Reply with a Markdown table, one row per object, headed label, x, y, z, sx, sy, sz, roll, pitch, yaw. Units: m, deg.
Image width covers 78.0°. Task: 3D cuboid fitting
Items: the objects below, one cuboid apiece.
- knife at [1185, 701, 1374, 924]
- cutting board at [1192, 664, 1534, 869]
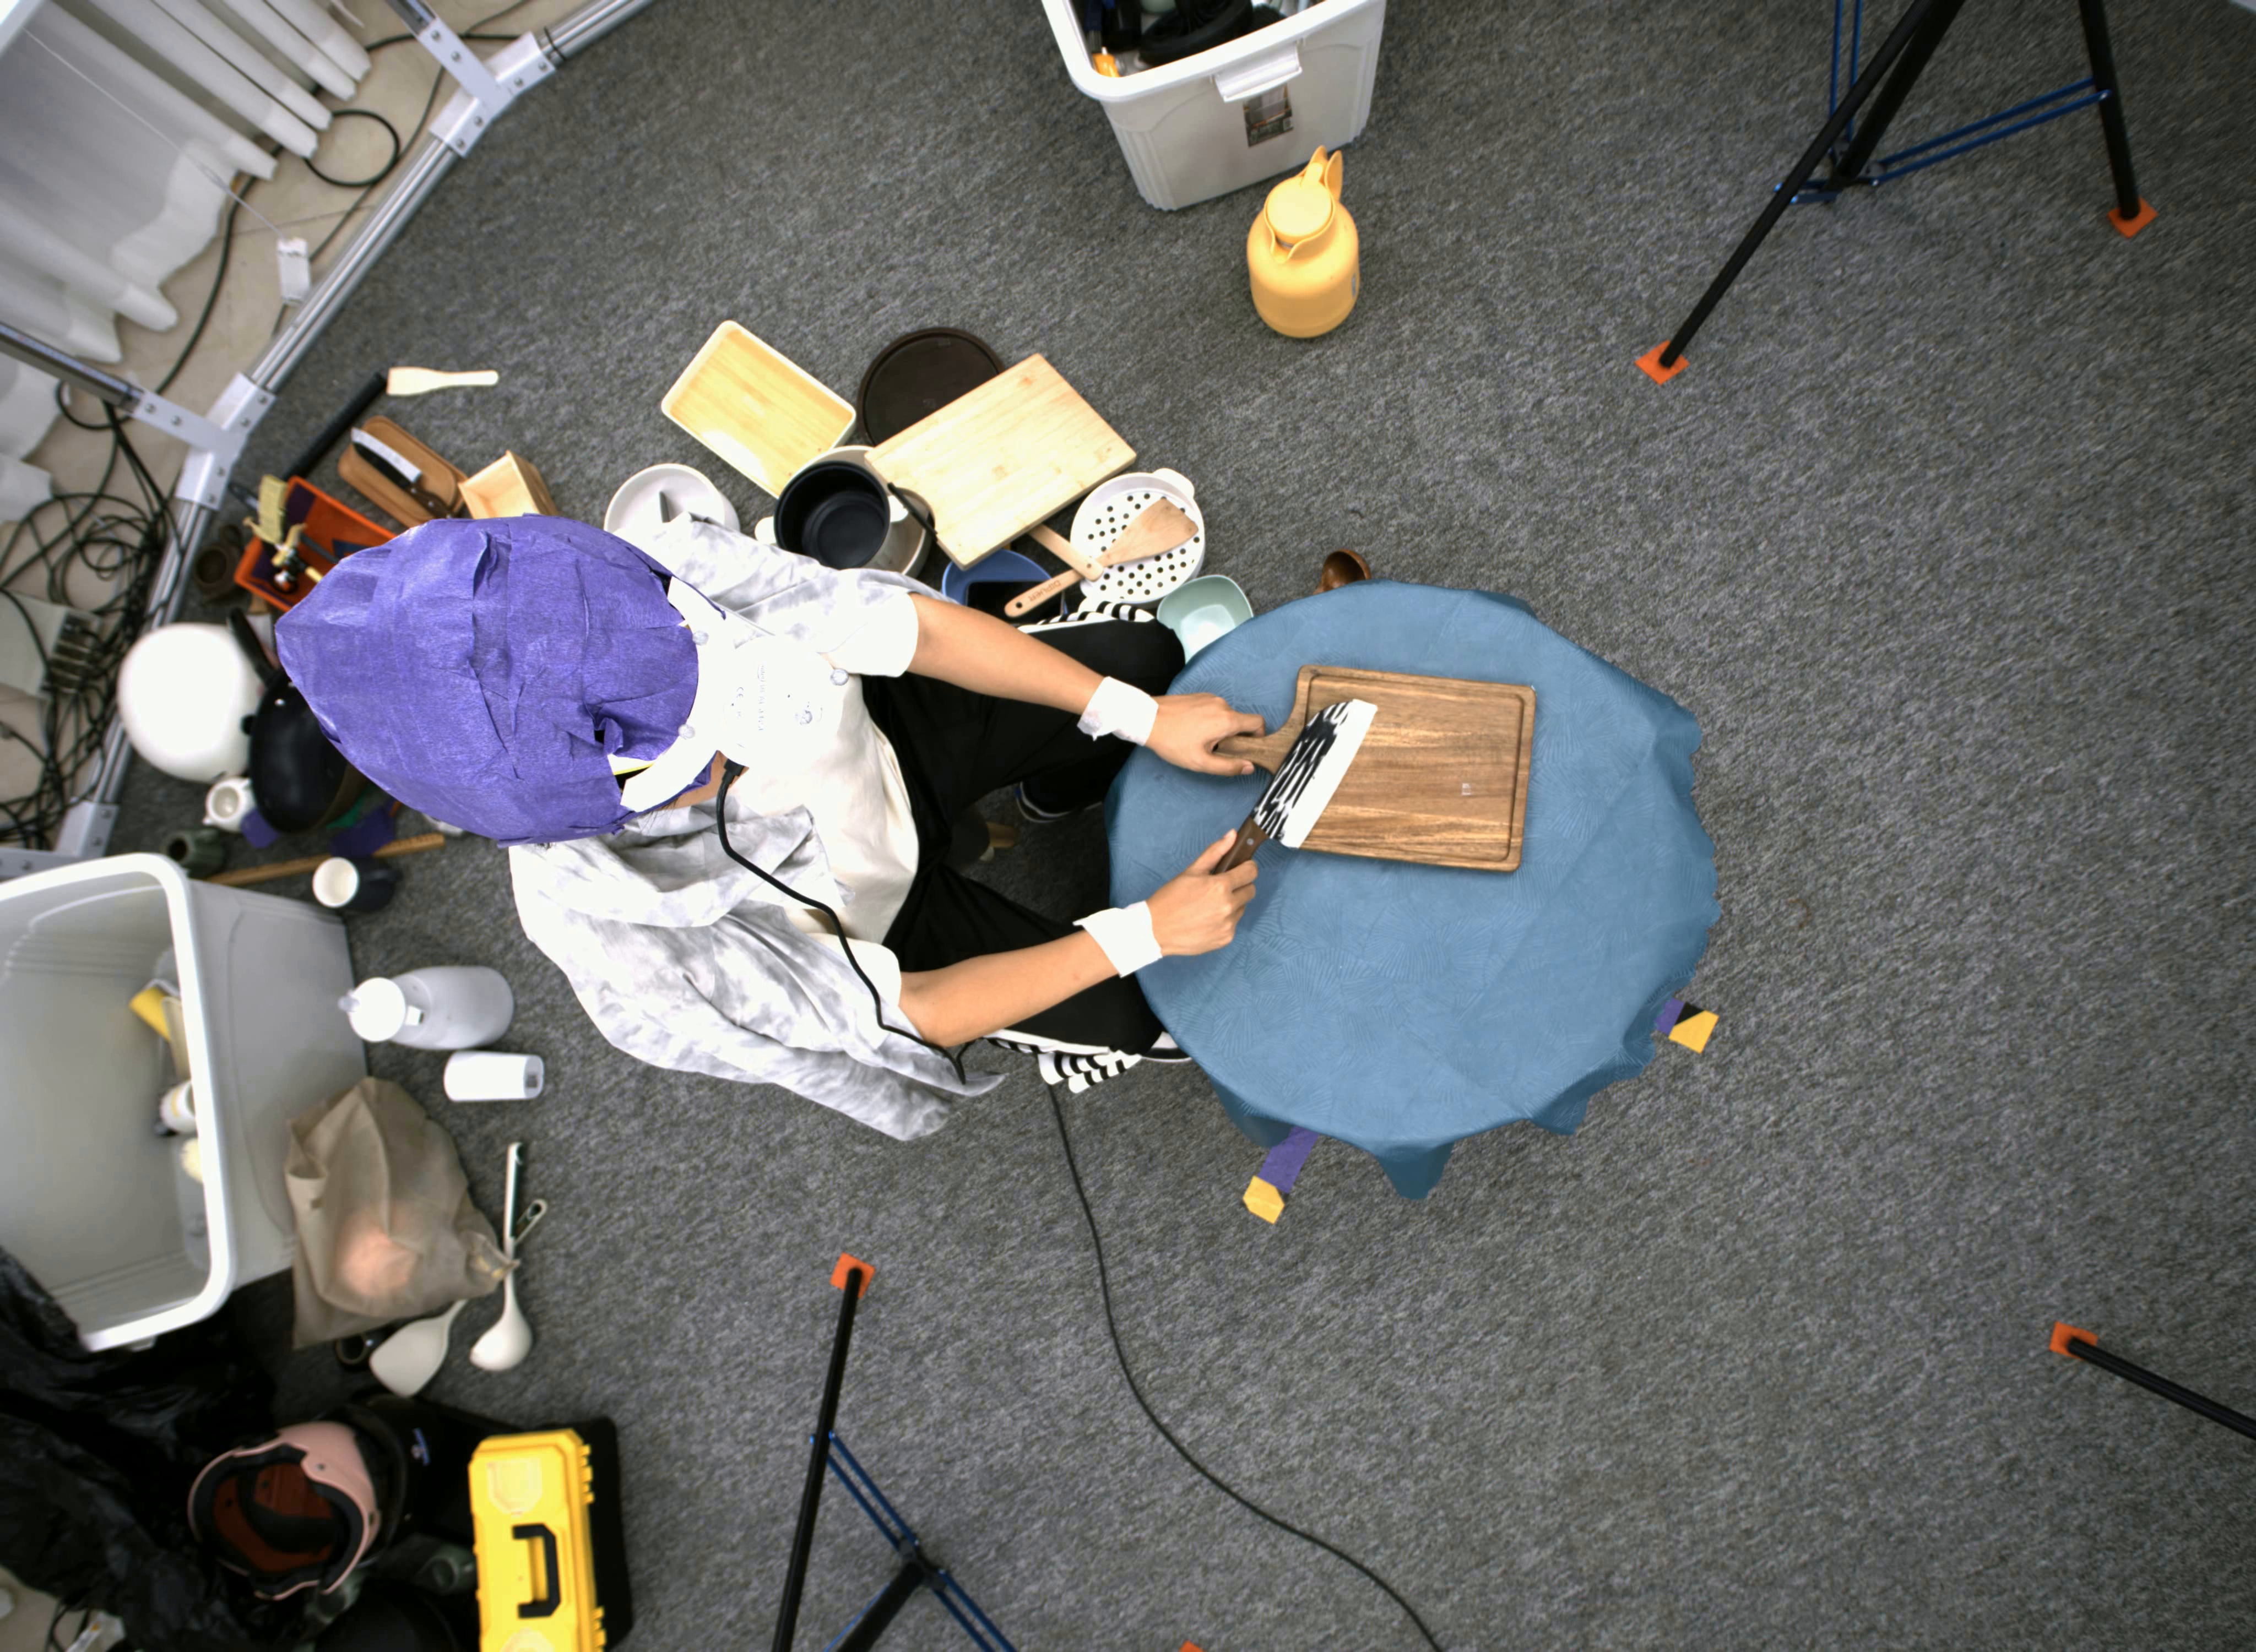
| label | x | y | z | sx | sy | sz | roll | pitch | yaw |
| --- | --- | --- | --- | --- | --- | --- | --- | --- | --- |
| knife | 0.160 | -0.014 | 1.430 | 0.068 | 0.024 | 0.298 | 34 | 87 | -18 |
| cutting board | 0.243 | -0.069 | 1.450 | 0.353 | 0.023 | 0.200 | 6 | 88 | 8 |
